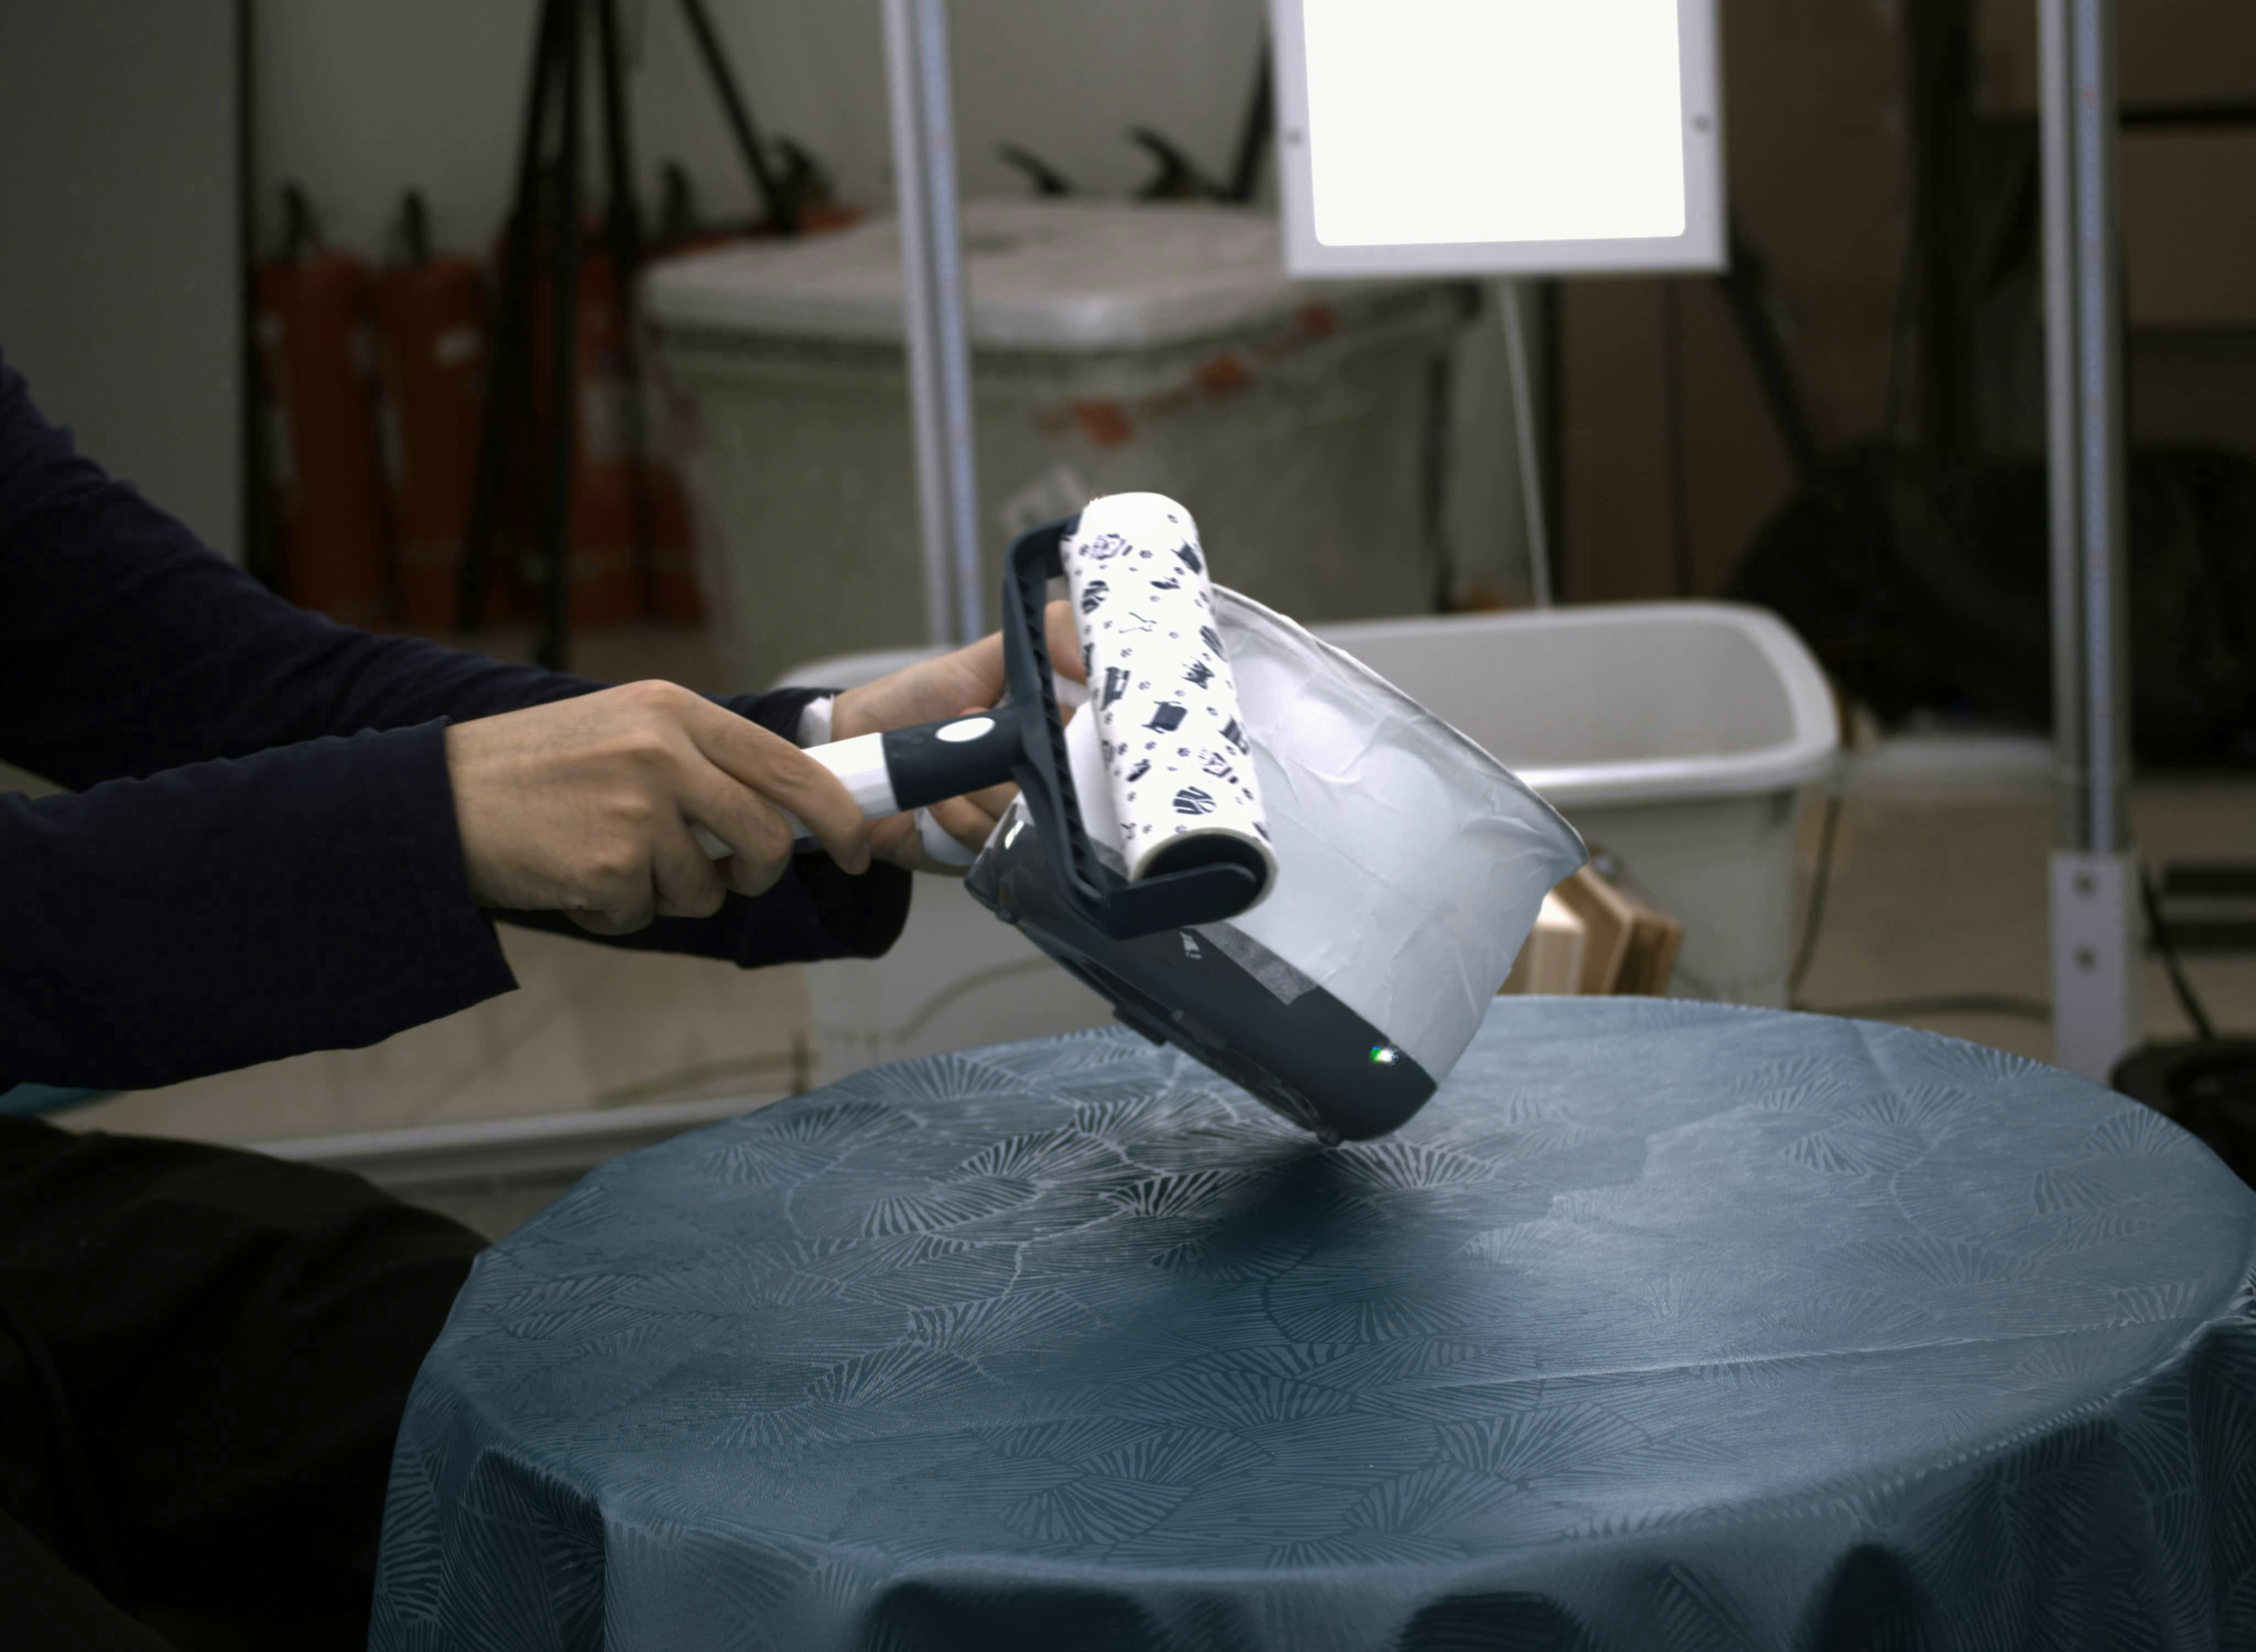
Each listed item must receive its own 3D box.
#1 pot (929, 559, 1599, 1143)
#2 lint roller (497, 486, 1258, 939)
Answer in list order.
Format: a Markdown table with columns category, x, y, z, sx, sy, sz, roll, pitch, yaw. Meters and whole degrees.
| category | x | y | z | sx | sy | sz | roll | pitch | yaw |
| --- | --- | --- | --- | --- | --- | --- | --- | --- | --- |
| pot | 0.035 | 0.001 | 1.914 | 0.237 | 0.136 | 0.176 | 33 | -7 | 39 |
| lint roller | -0.089 | -0.014 | 1.796 | 0.247 | 0.050 | 0.176 | -16 | 47 | 4 |
